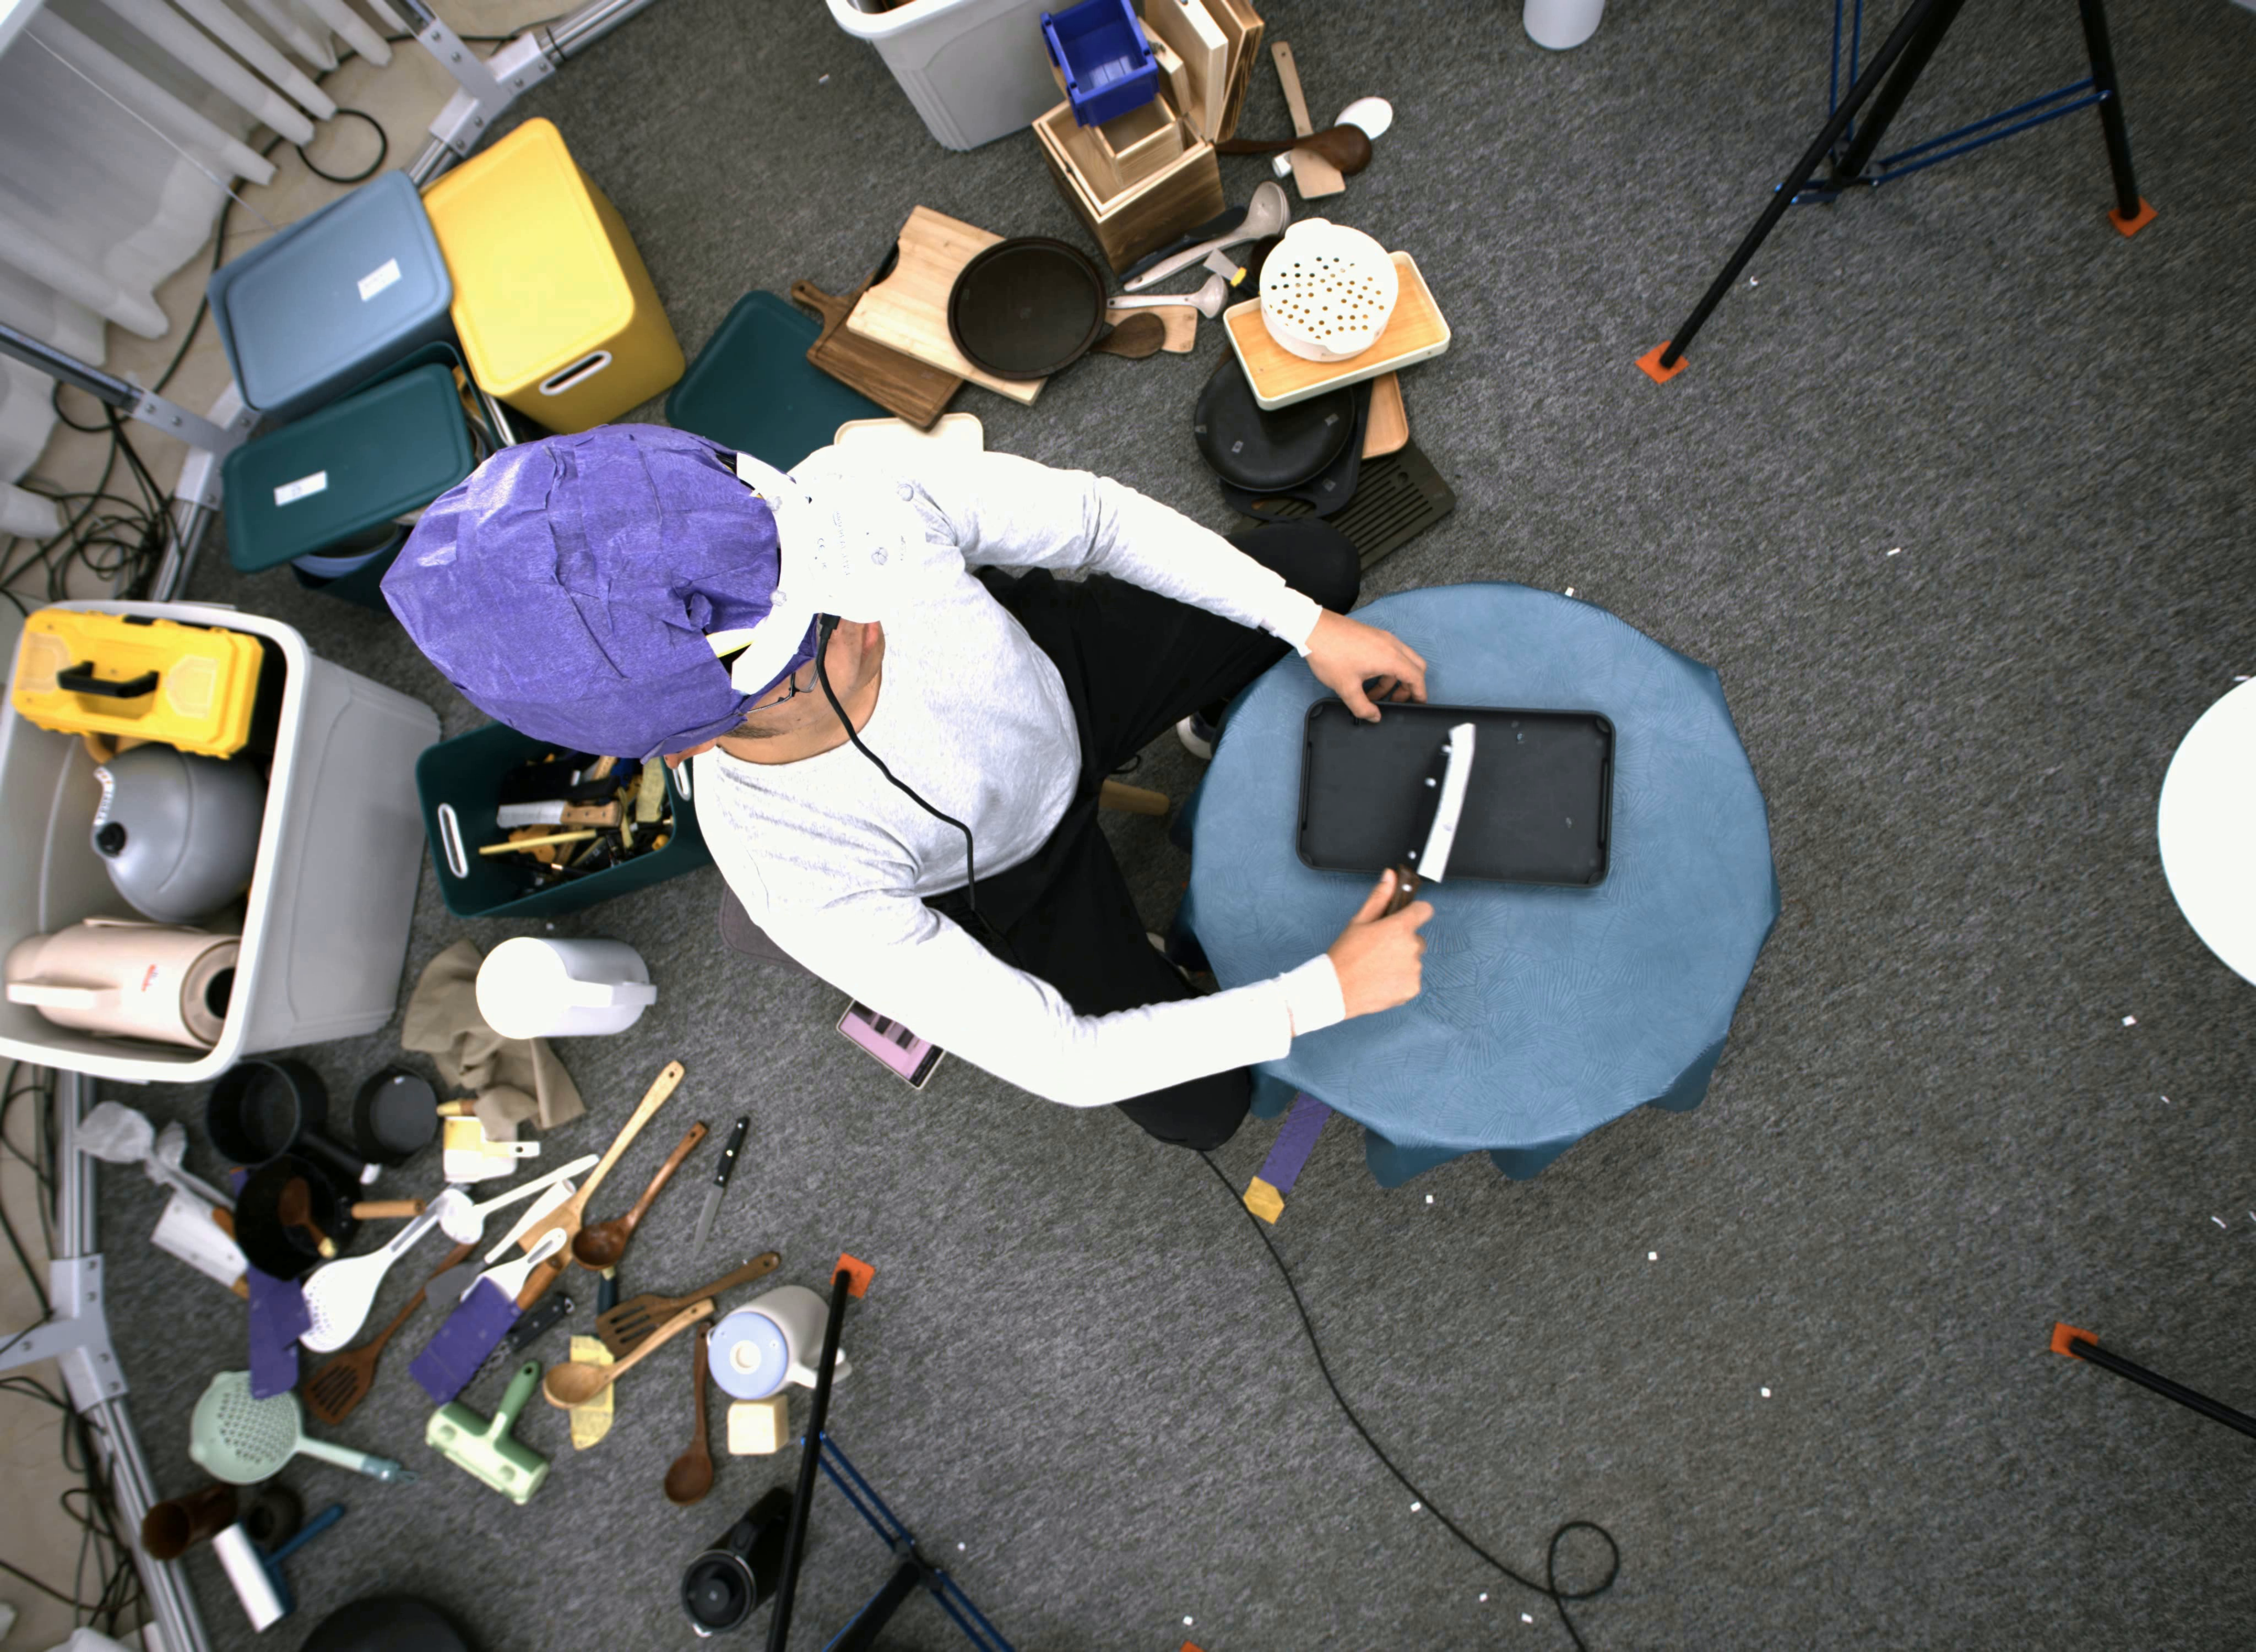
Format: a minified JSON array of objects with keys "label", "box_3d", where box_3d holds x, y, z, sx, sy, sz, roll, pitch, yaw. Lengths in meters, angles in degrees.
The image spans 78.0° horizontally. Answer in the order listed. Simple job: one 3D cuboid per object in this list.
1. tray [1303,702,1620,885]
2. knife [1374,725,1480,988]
[{"label":"tray","box_3d":[0.345,-0.036,1.434,0.319,0.037,0.183,2,87,11]},{"label":"knife","box_3d":[0.300,0.027,1.373,0.050,0.020,0.287,22,84,-7]}]
